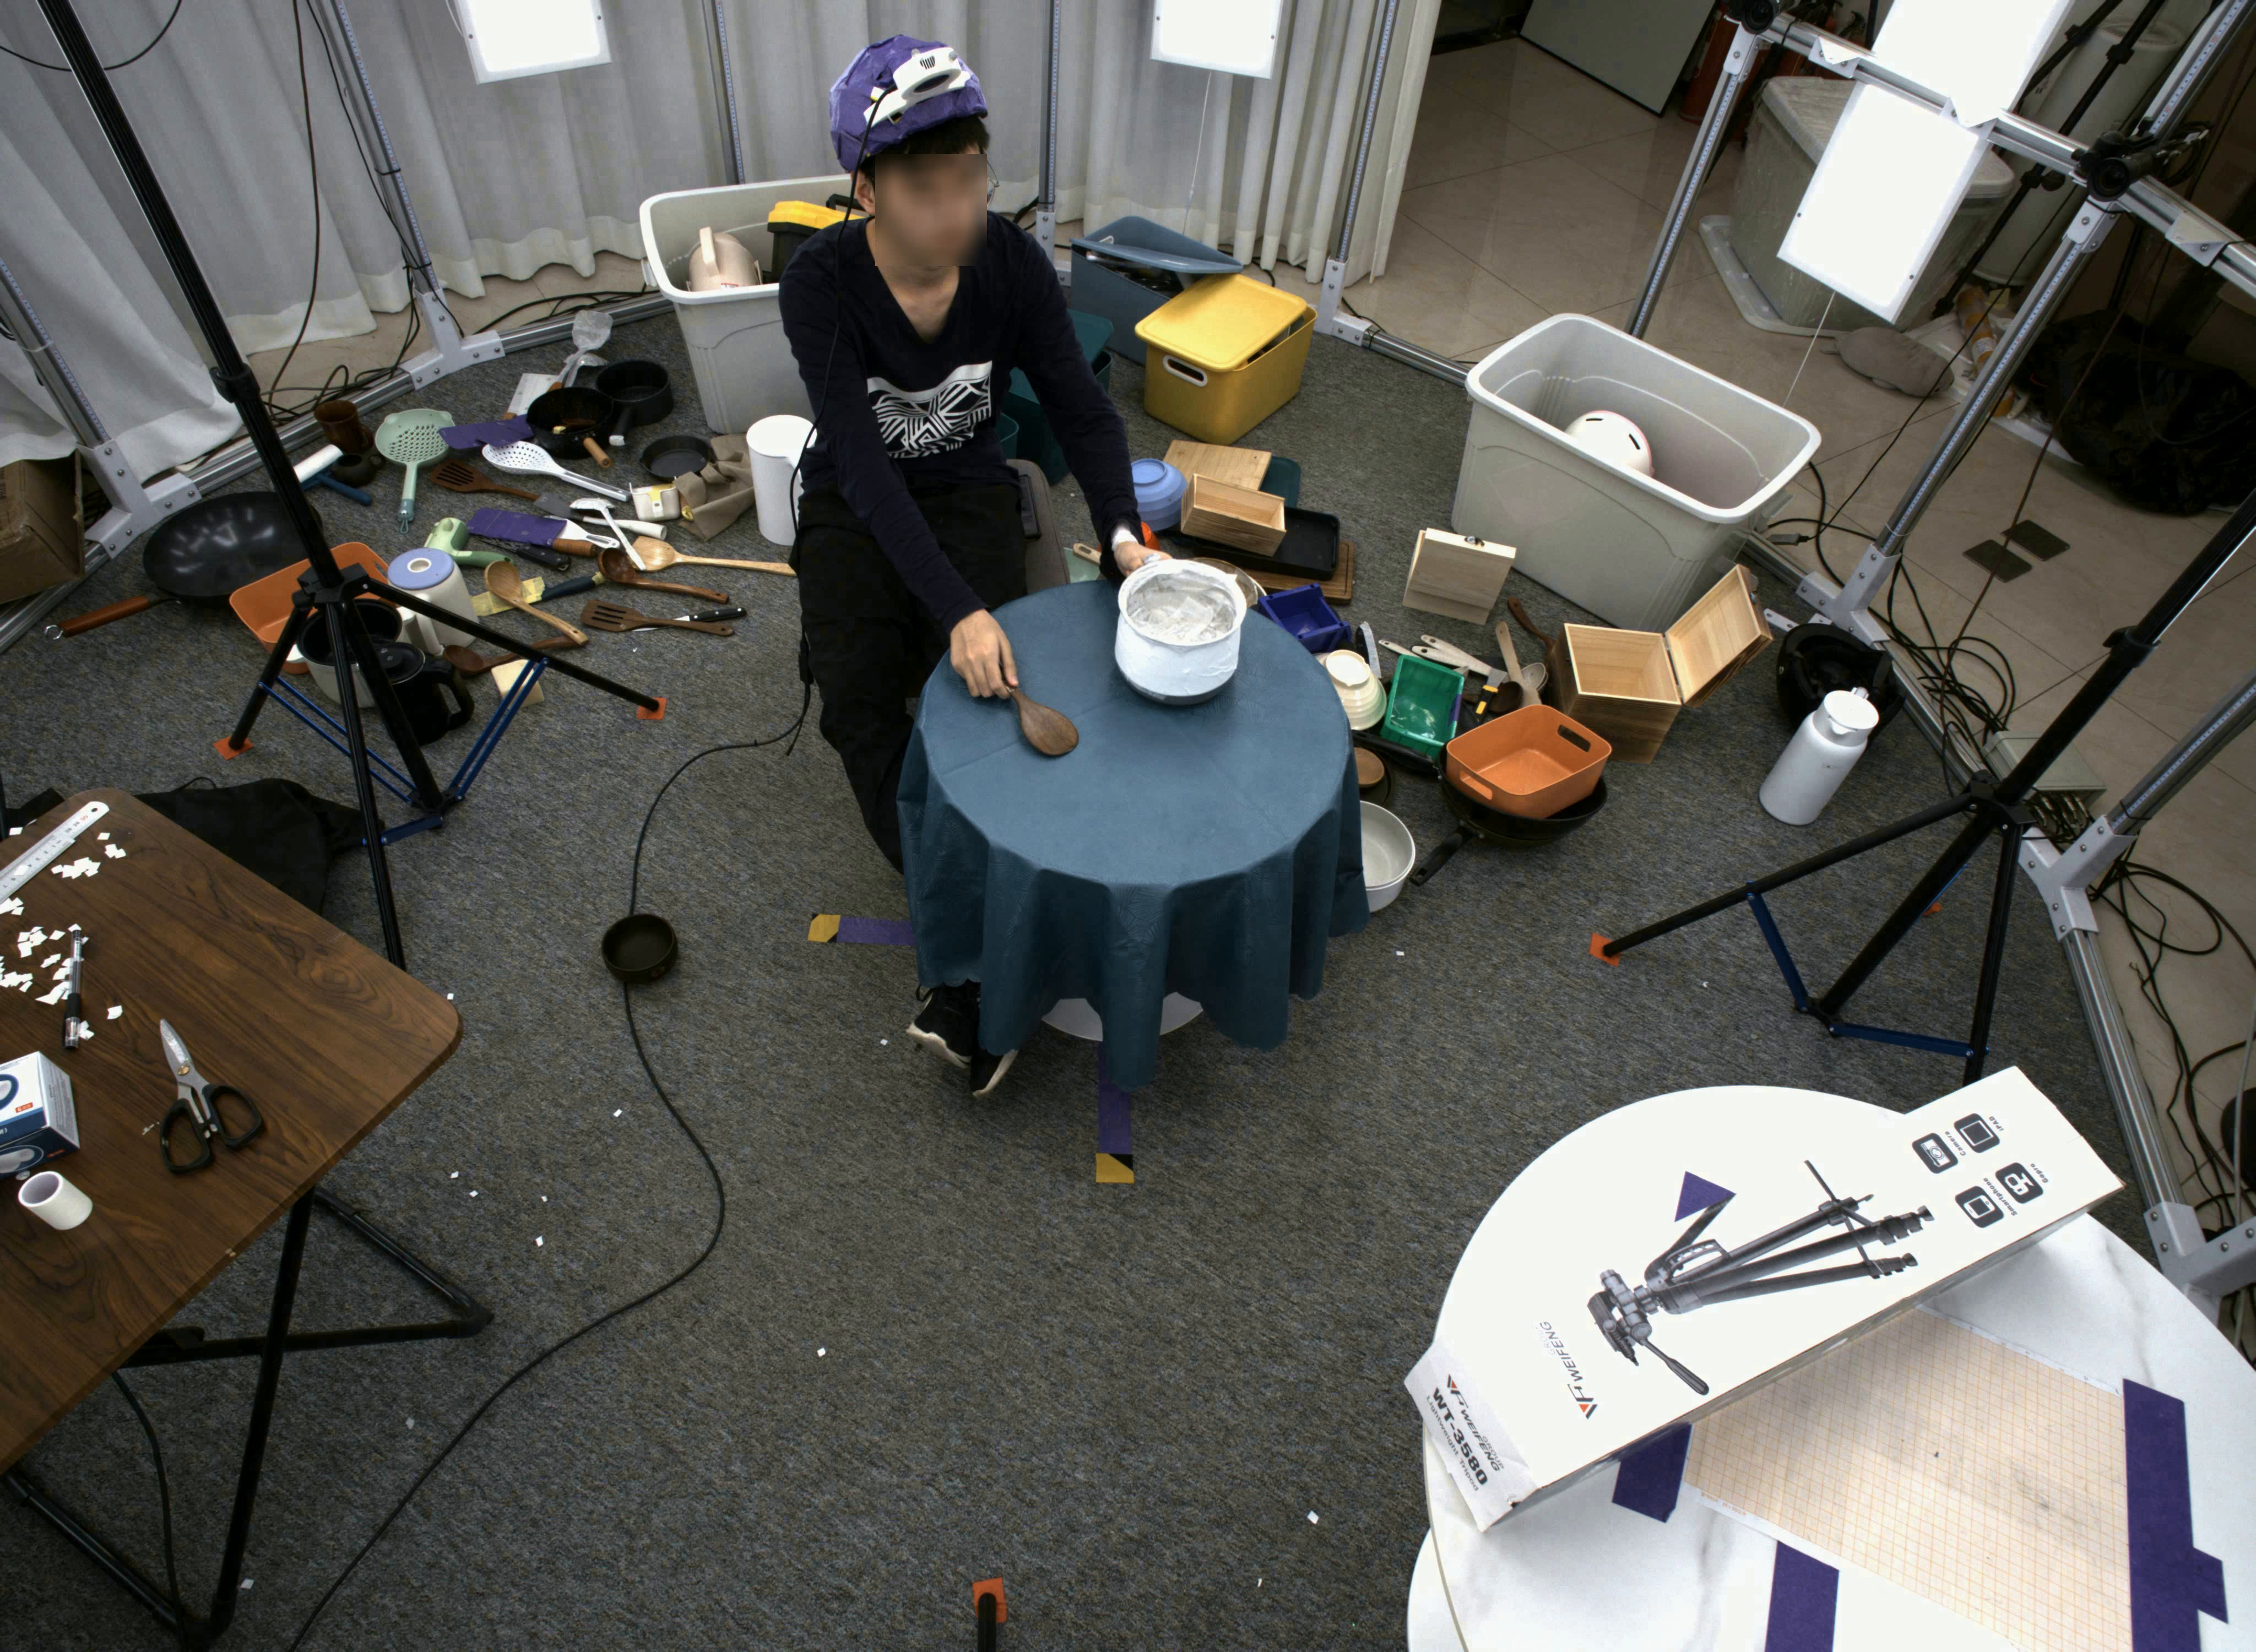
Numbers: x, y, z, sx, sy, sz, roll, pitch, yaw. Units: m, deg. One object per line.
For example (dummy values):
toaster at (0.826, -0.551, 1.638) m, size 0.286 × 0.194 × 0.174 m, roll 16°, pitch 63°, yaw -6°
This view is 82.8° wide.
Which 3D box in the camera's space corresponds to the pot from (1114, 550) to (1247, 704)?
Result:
pot at (0.060, -0.293, 1.831) m, size 0.179 × 0.133 × 0.239 m, roll -15°, pitch 54°, yaw -18°

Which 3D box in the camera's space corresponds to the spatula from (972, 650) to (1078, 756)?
spatula at (-0.148, -0.176, 1.788) m, size 0.072 × 0.009 × 0.219 m, roll -24°, pitch 61°, yaw -34°
